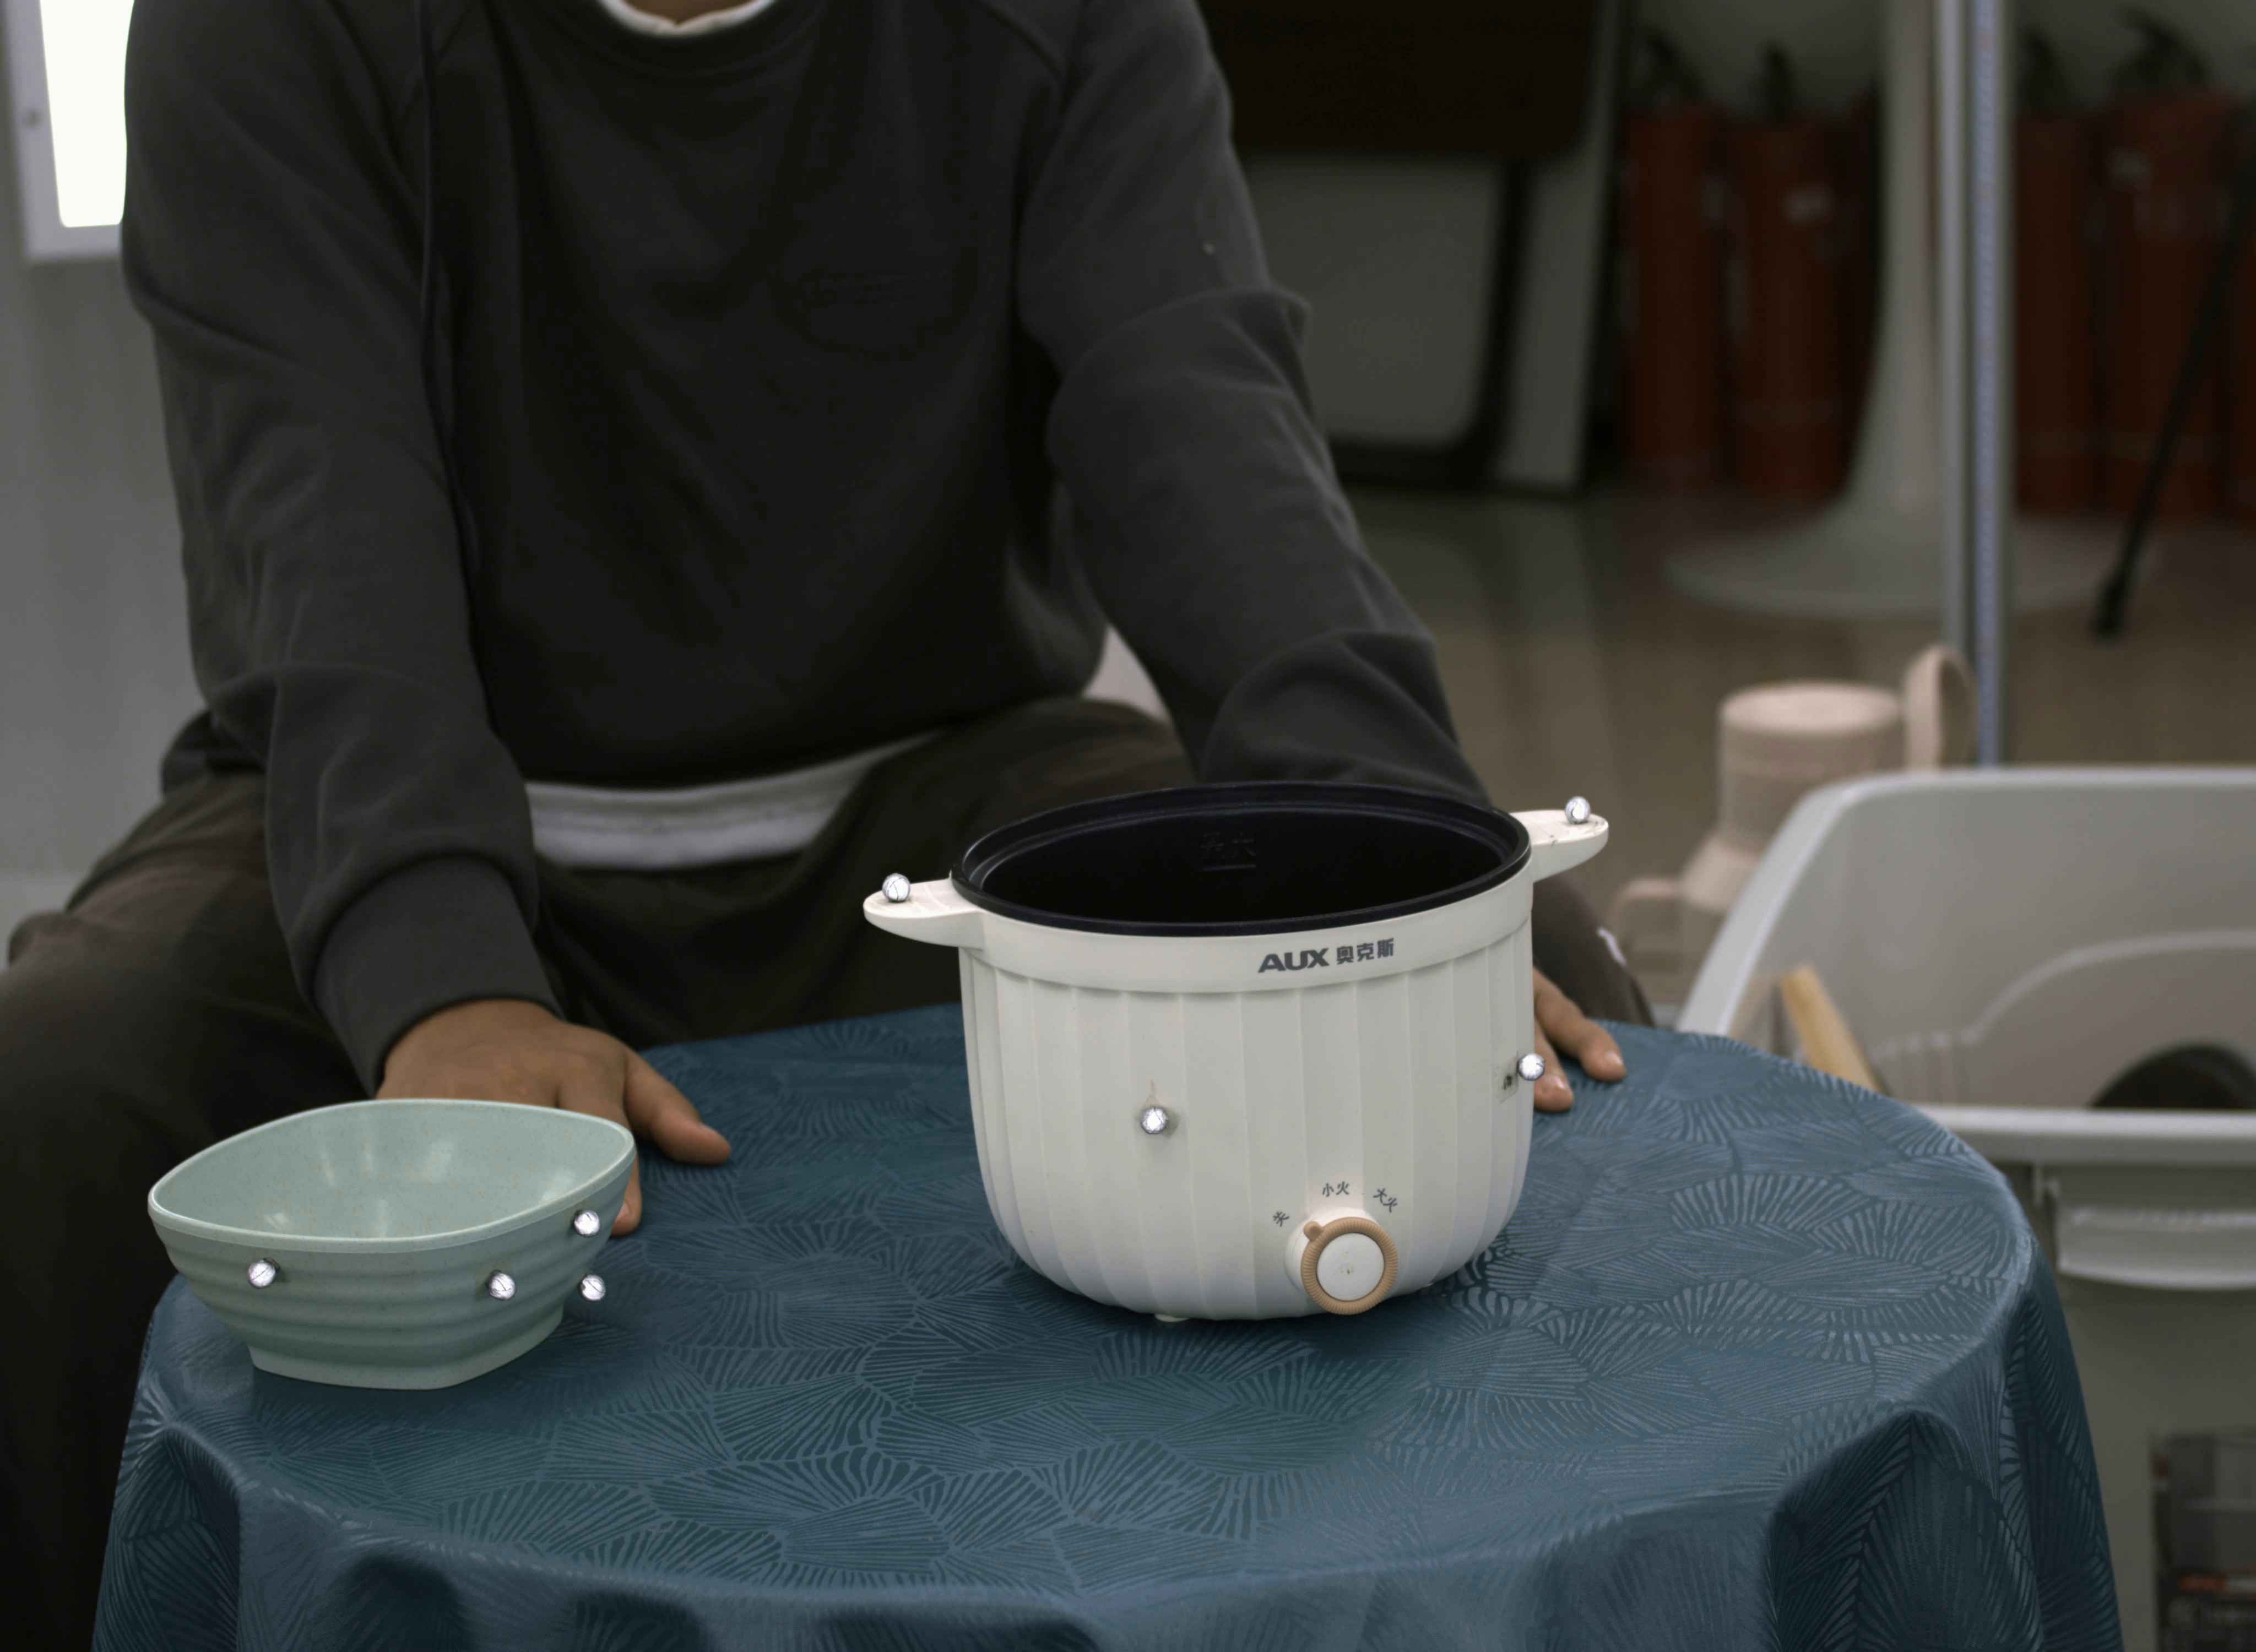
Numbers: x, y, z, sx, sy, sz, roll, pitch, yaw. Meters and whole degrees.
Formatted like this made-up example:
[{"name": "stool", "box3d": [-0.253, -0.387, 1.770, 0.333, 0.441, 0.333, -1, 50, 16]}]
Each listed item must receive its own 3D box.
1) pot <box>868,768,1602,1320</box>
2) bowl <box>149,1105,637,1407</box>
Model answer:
[{"name": "pot", "box3d": [0.042, 0.070, 1.675, 0.236, 0.144, 0.192, -9, 11, -14]}, {"name": "bowl", "box3d": [-0.223, 0.135, 1.666, 0.149, 0.059, 0.152, -3, 14, 0]}]
